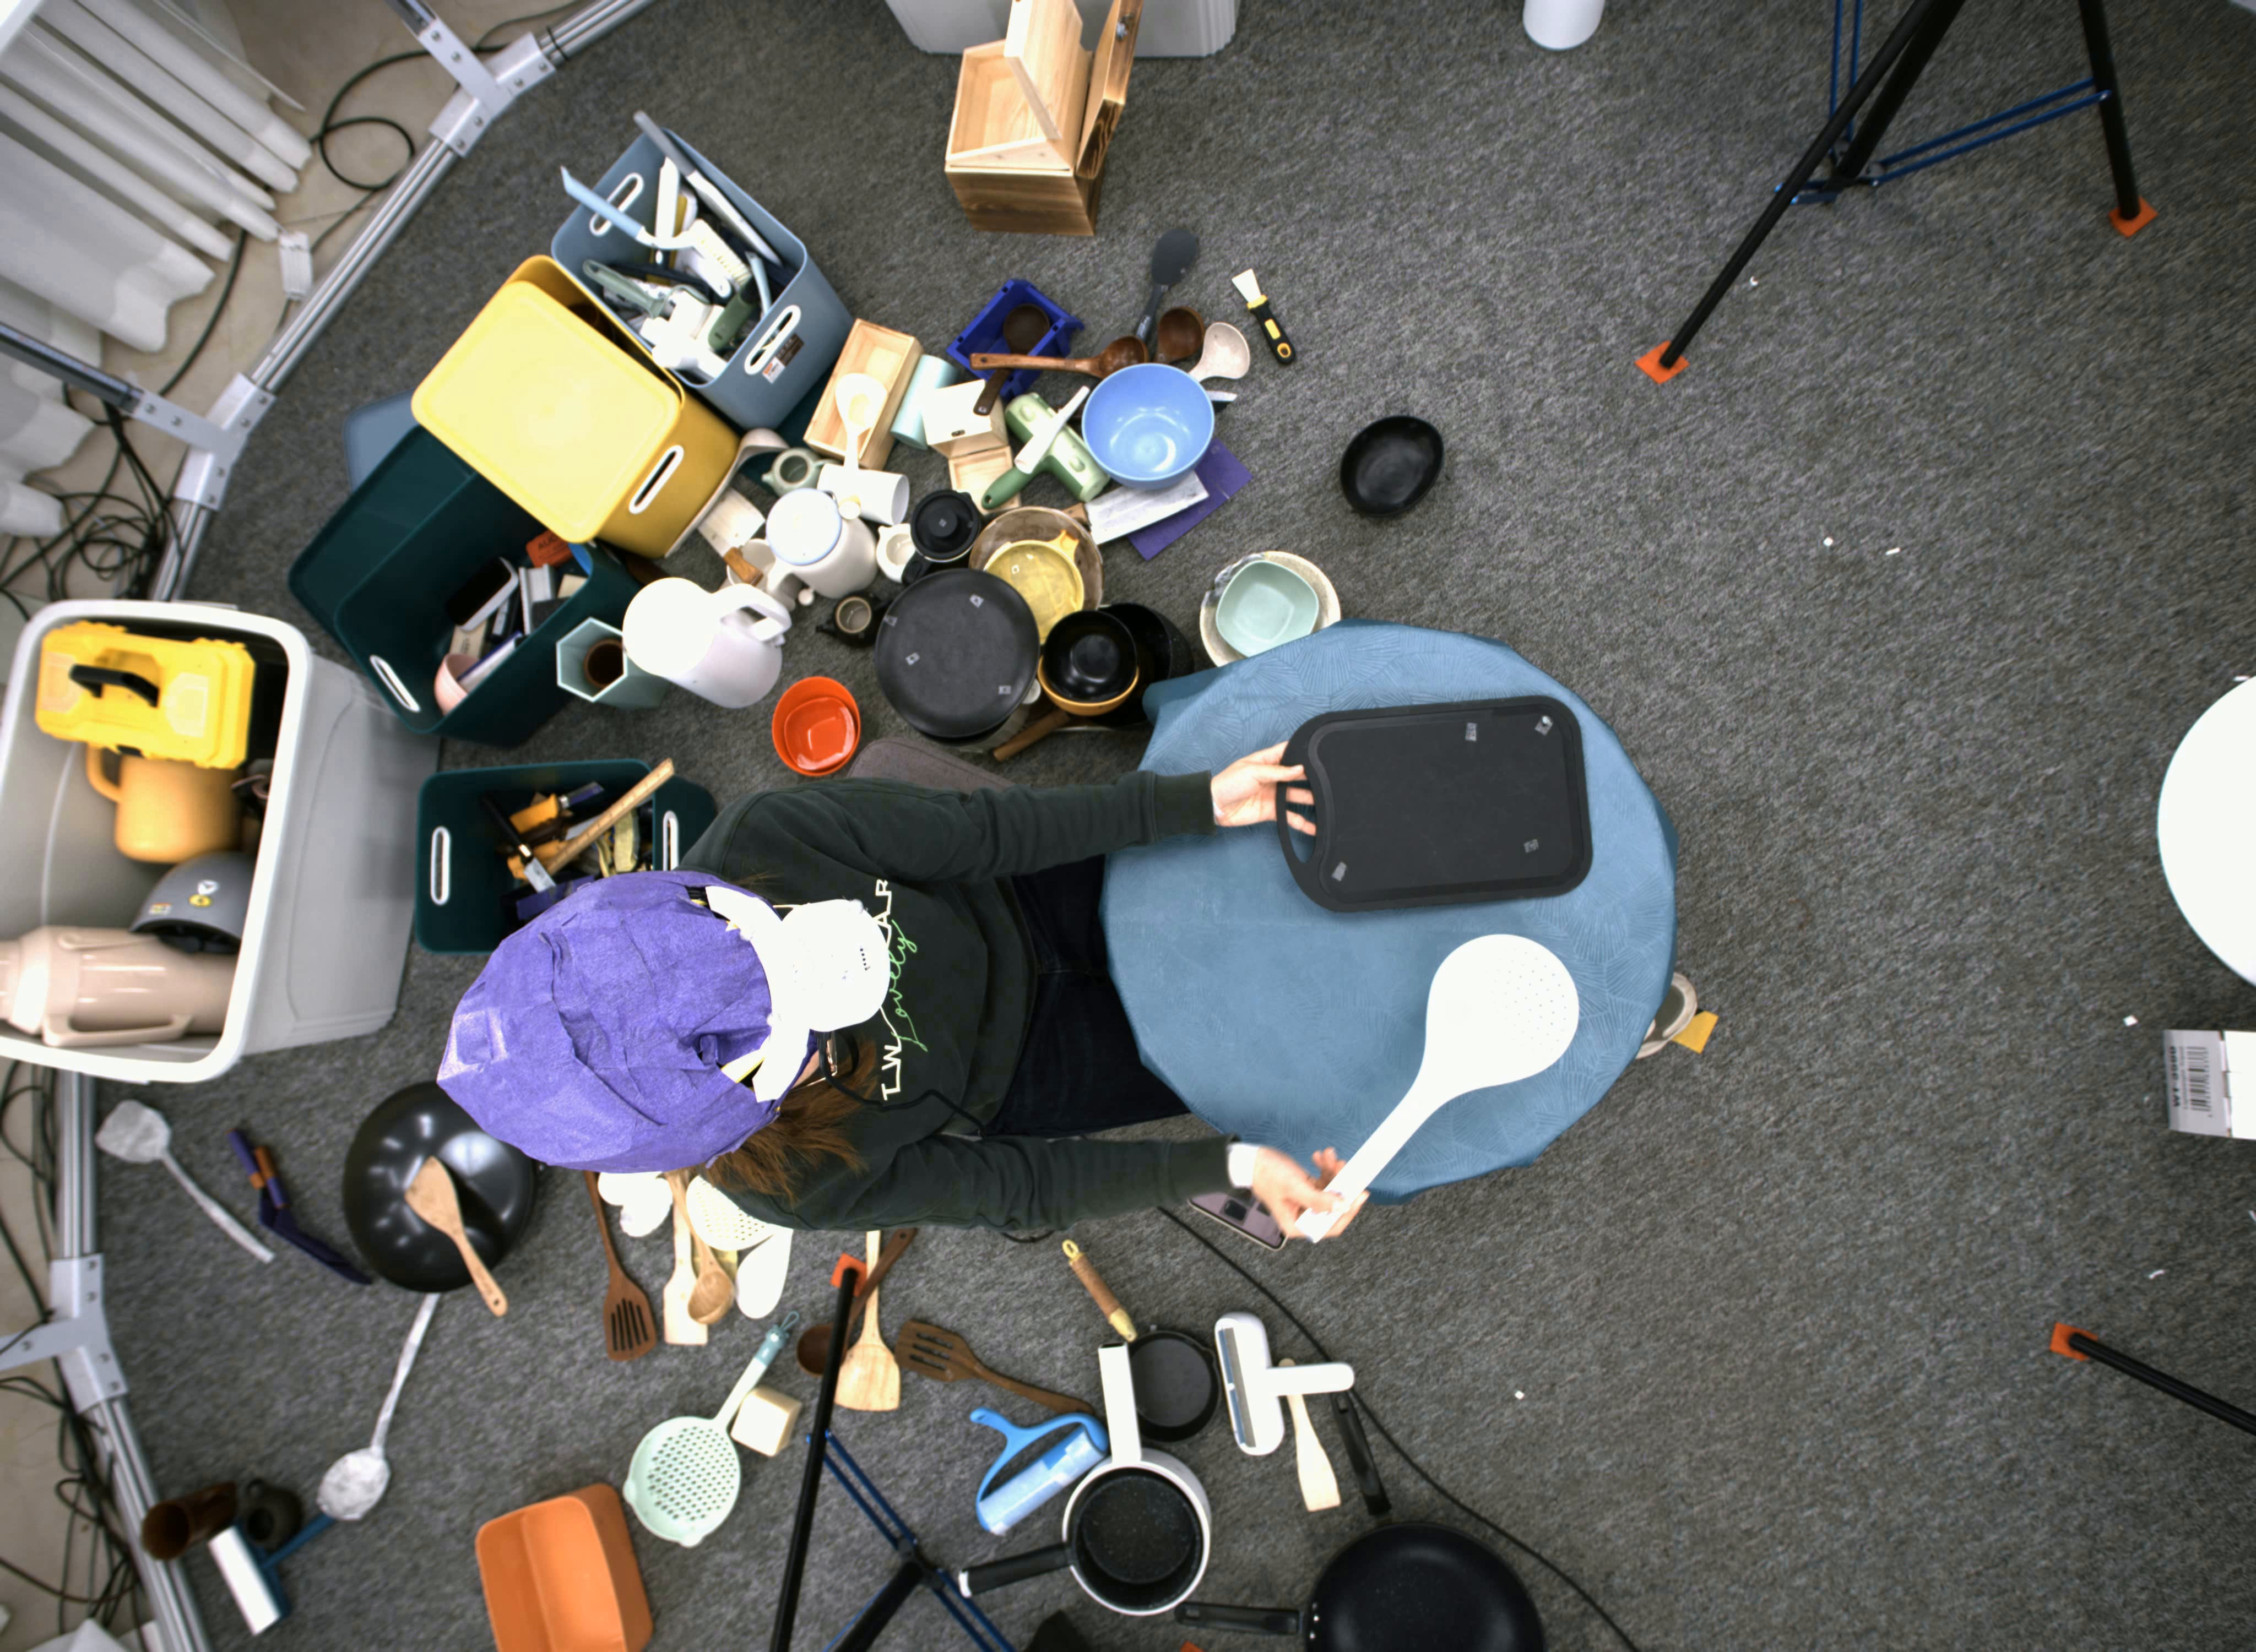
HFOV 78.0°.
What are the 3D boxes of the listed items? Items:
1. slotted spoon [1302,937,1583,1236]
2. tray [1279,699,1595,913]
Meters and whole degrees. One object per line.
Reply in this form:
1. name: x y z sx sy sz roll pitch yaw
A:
1. slotted spoon: 0.291 0.249 1.311 0.135 0.046 0.347 42 79 15
2. tray: 0.320 -0.022 1.432 0.326 0.010 0.210 -4 89 2
